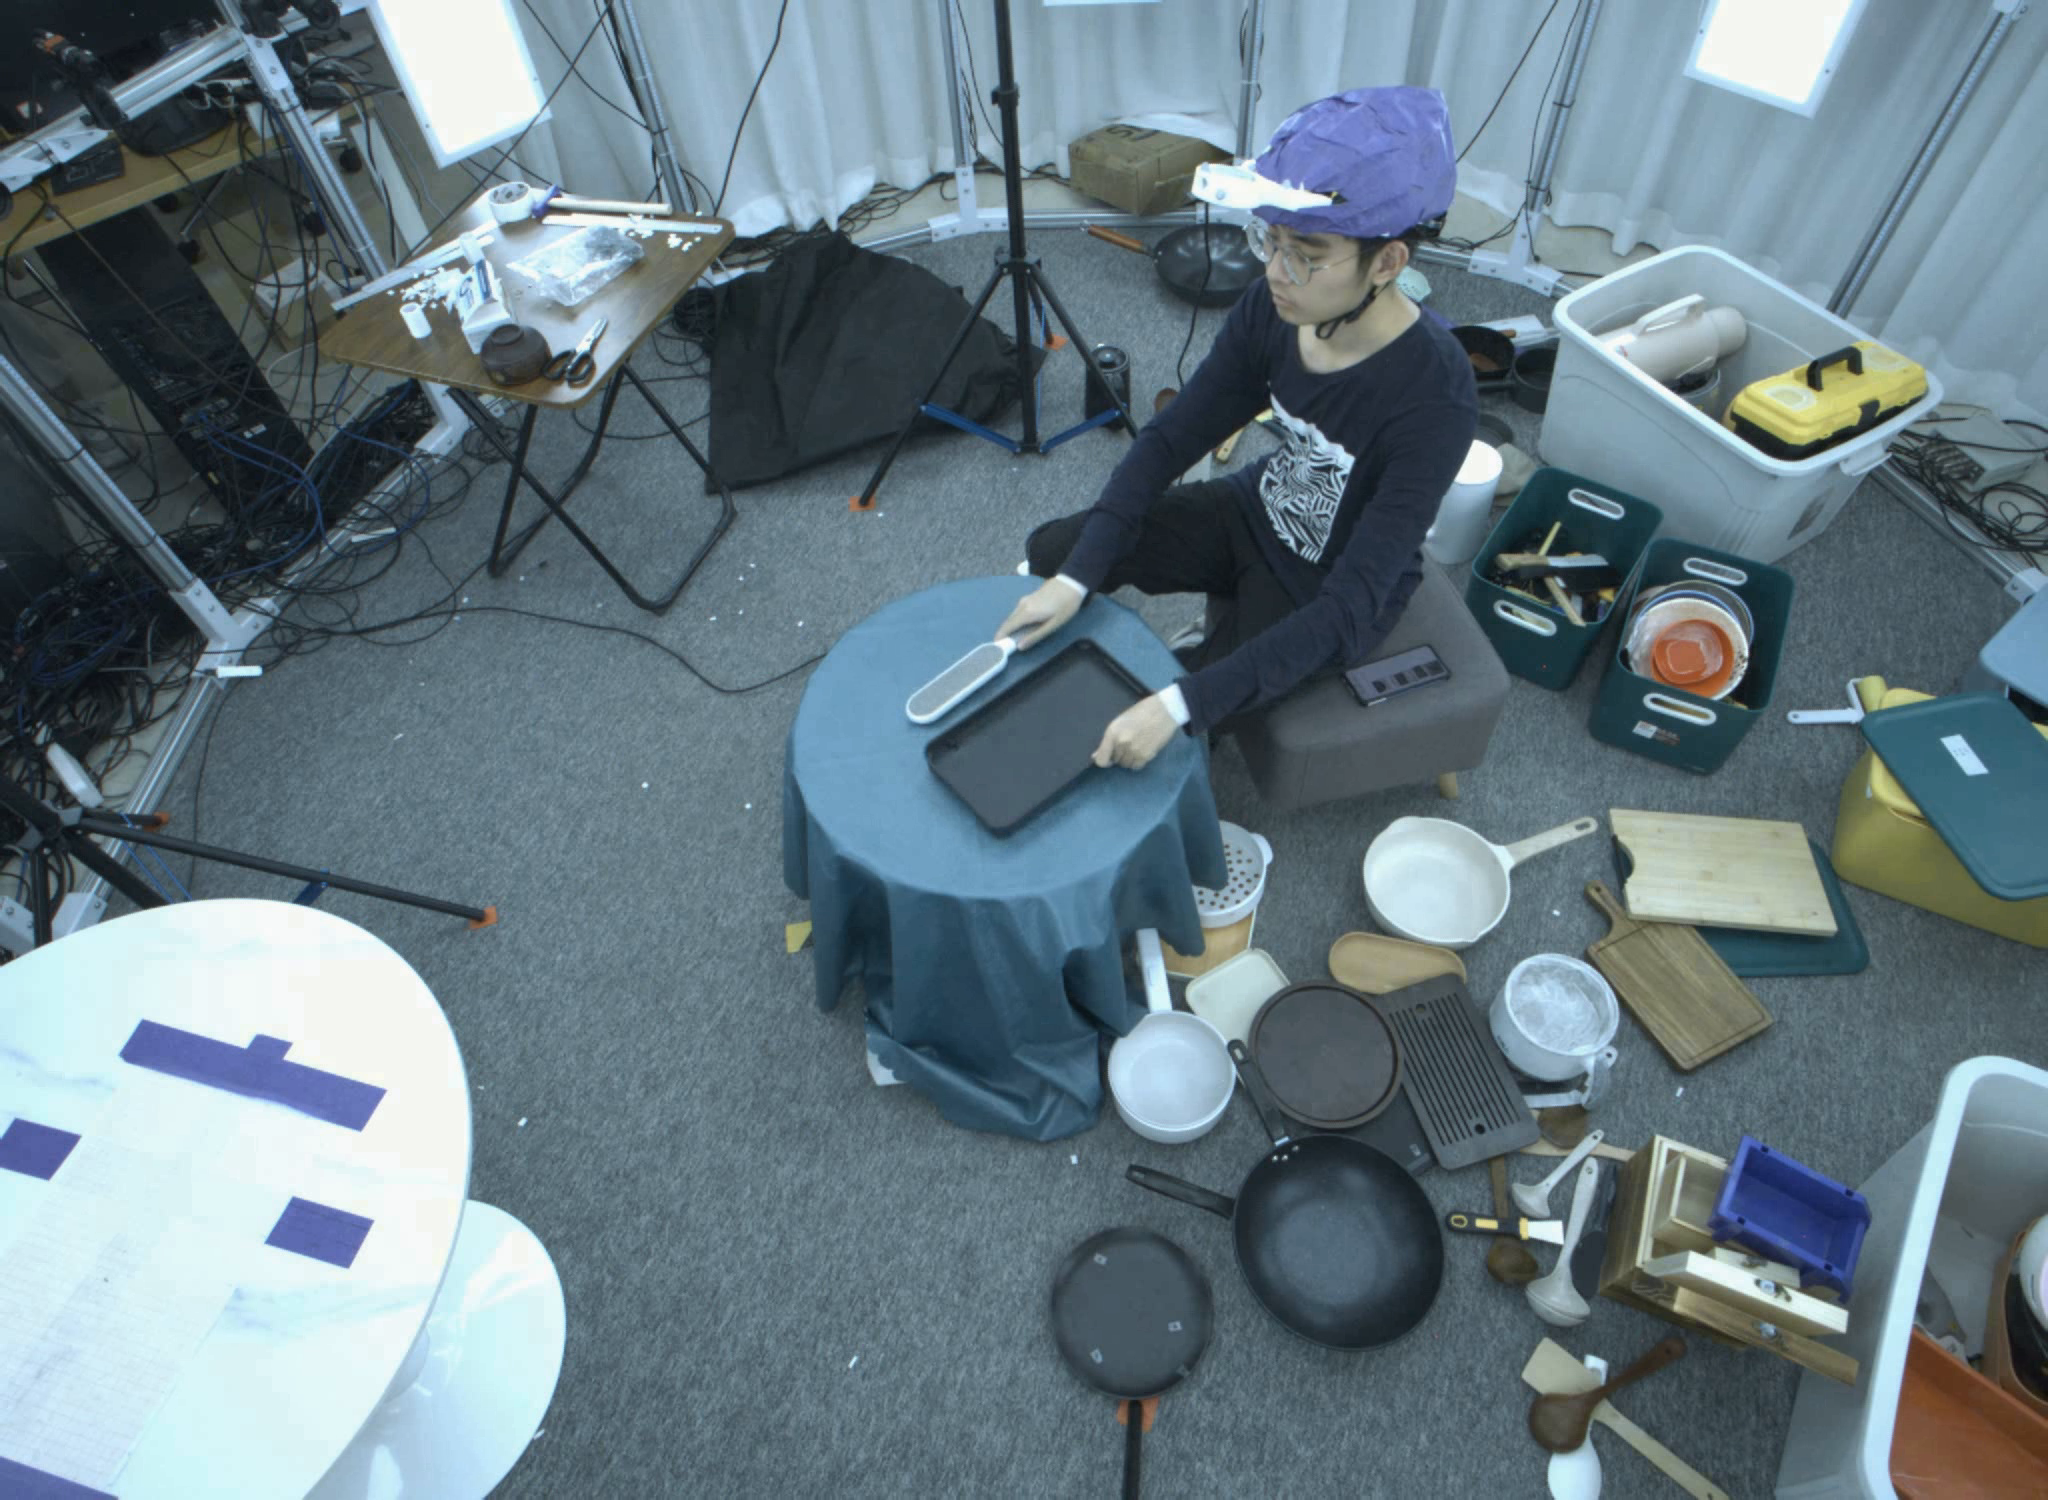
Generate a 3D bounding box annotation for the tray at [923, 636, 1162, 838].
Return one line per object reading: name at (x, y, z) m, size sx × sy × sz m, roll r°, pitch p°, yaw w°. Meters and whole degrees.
tray at (0.028, -0.023, 1.767) m, size 0.320 × 0.037 × 0.181 m, roll -36°, pitch 65°, yaw -19°

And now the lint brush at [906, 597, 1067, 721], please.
lint brush at (-0.053, -0.141, 1.867) m, size 0.311 × 0.021 × 0.058 m, roll -38°, pitch 49°, yaw -18°
